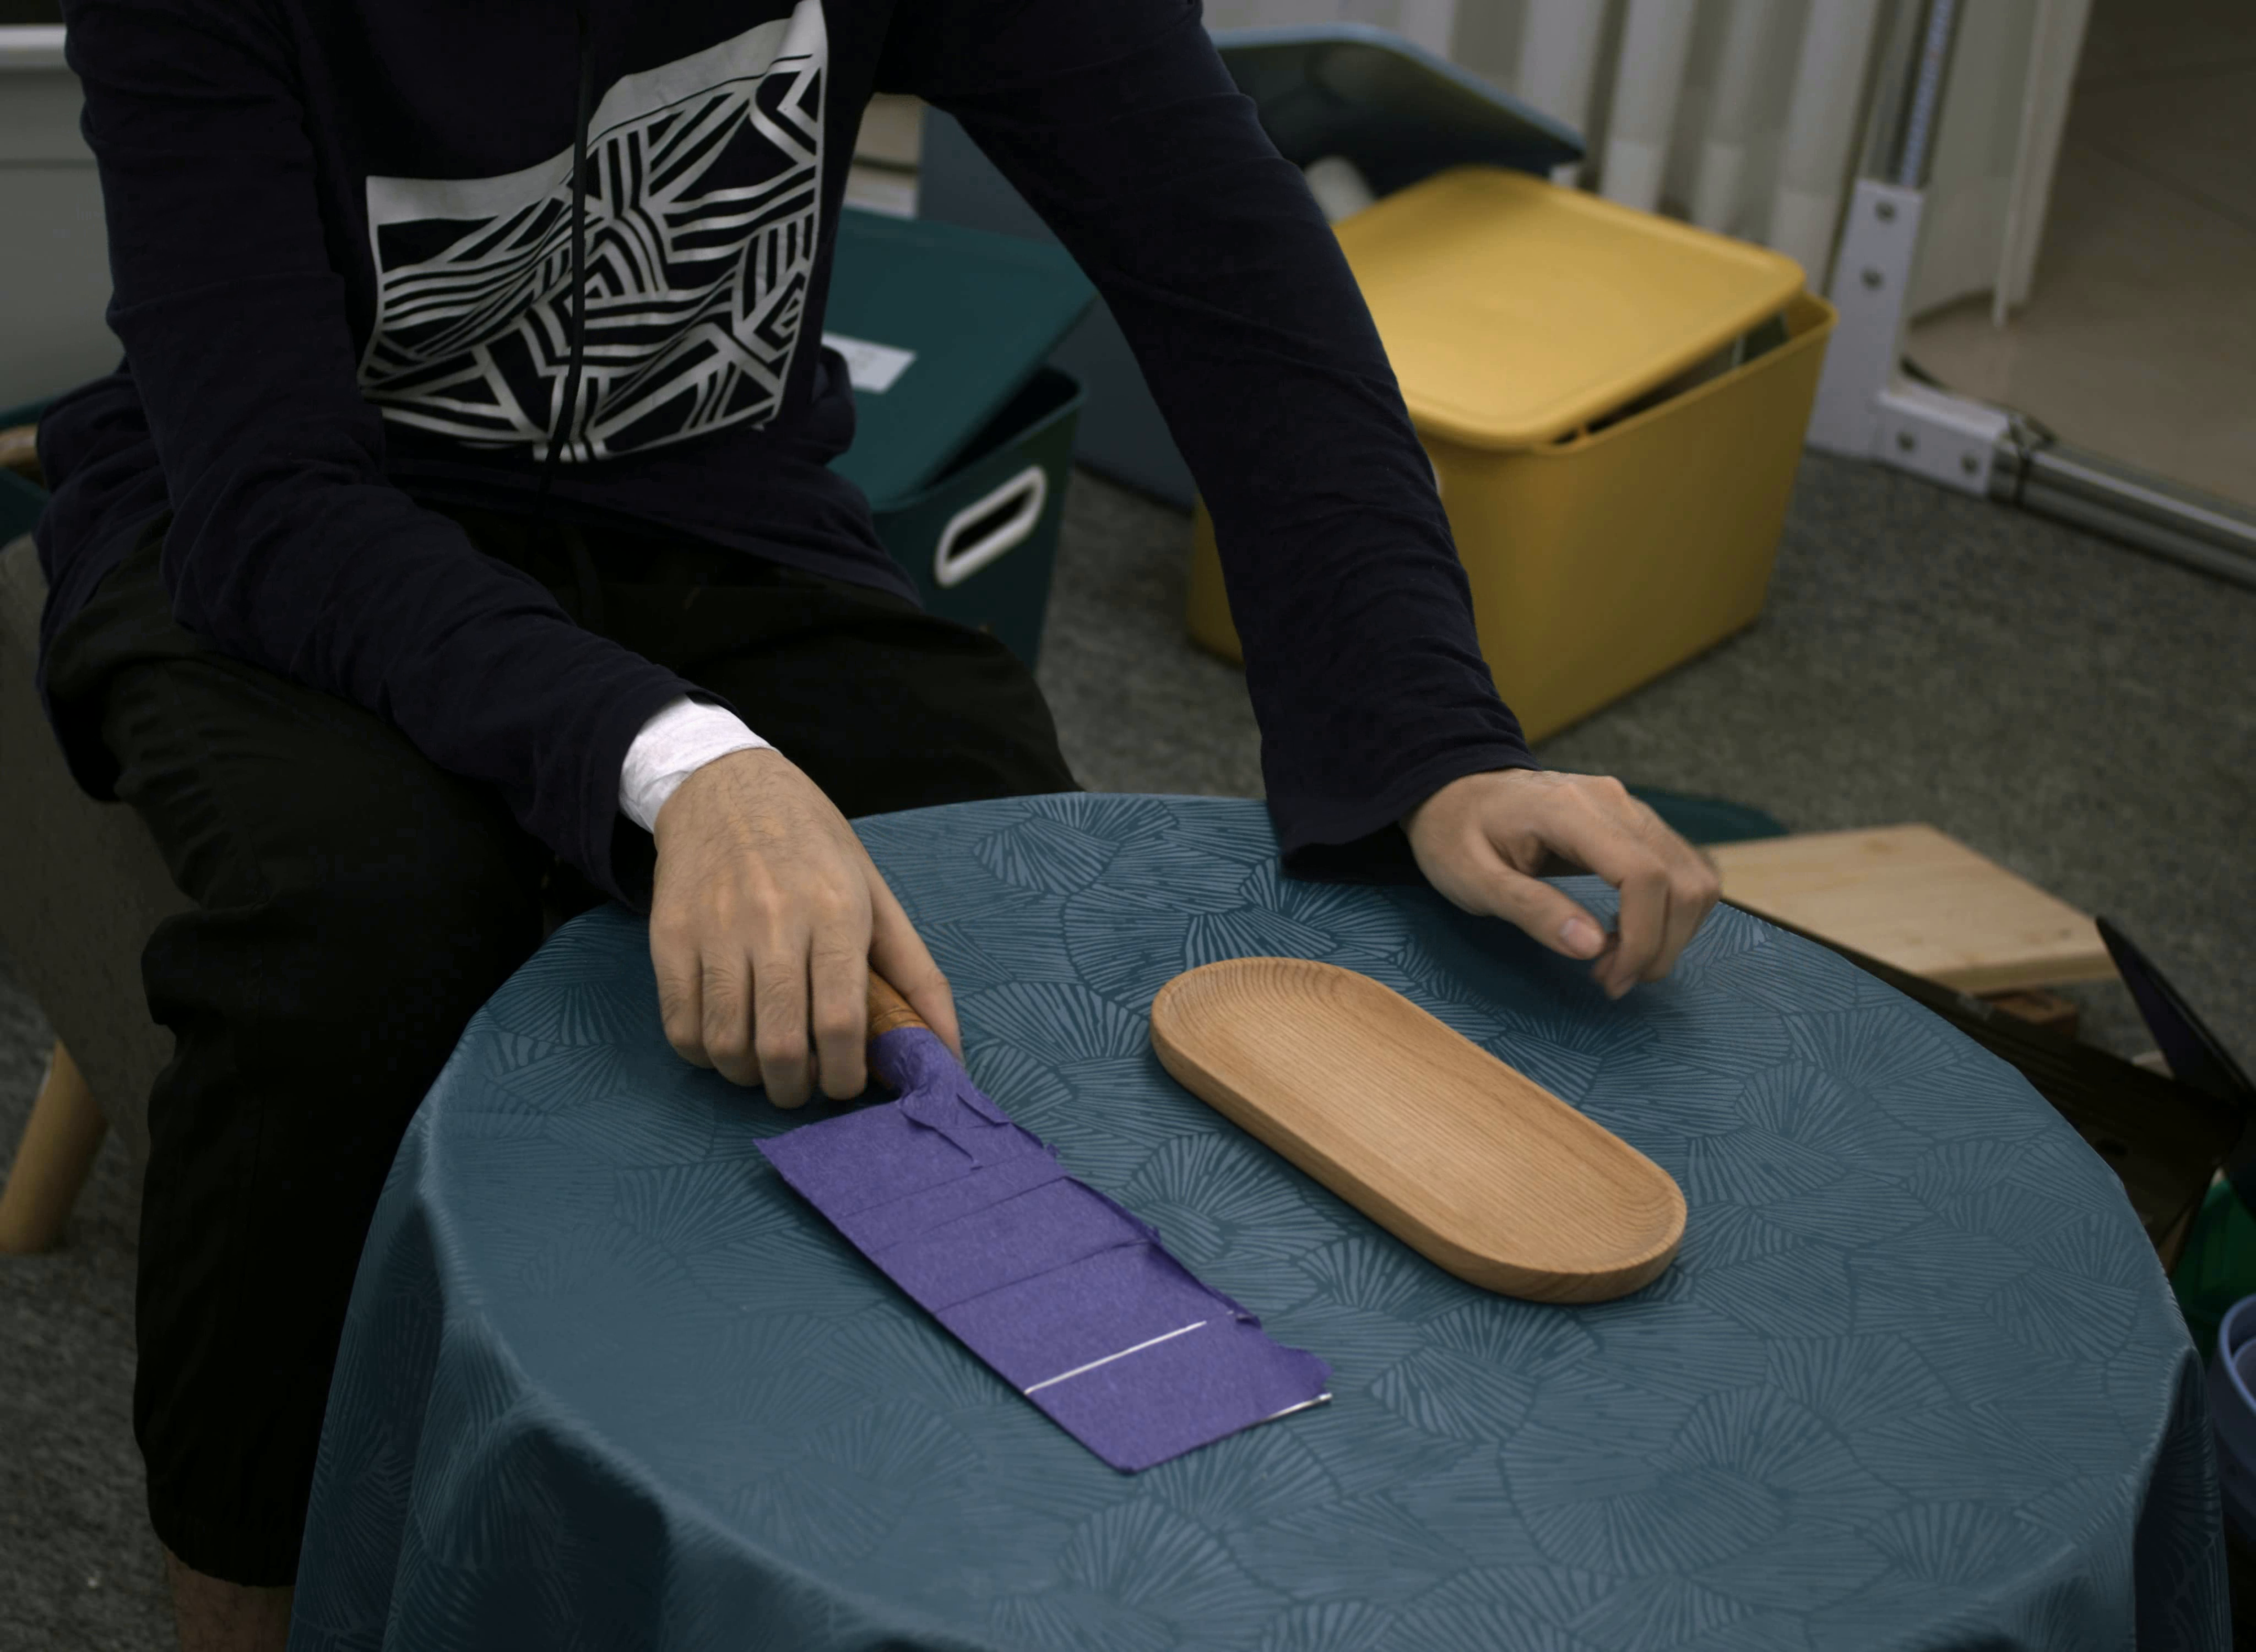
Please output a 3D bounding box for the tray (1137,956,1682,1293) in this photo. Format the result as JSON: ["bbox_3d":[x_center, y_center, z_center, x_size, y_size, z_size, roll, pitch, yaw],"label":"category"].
[{"bbox_3d":[0.095,0.102,1.852,0.101,0.020,0.233,-15,32,-38],"label":"tray"}]

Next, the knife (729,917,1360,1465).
[{"bbox_3d":[-0.058,0.117,1.775,0.103,0.032,0.318,-14,34,-36],"label":"knife"}]
